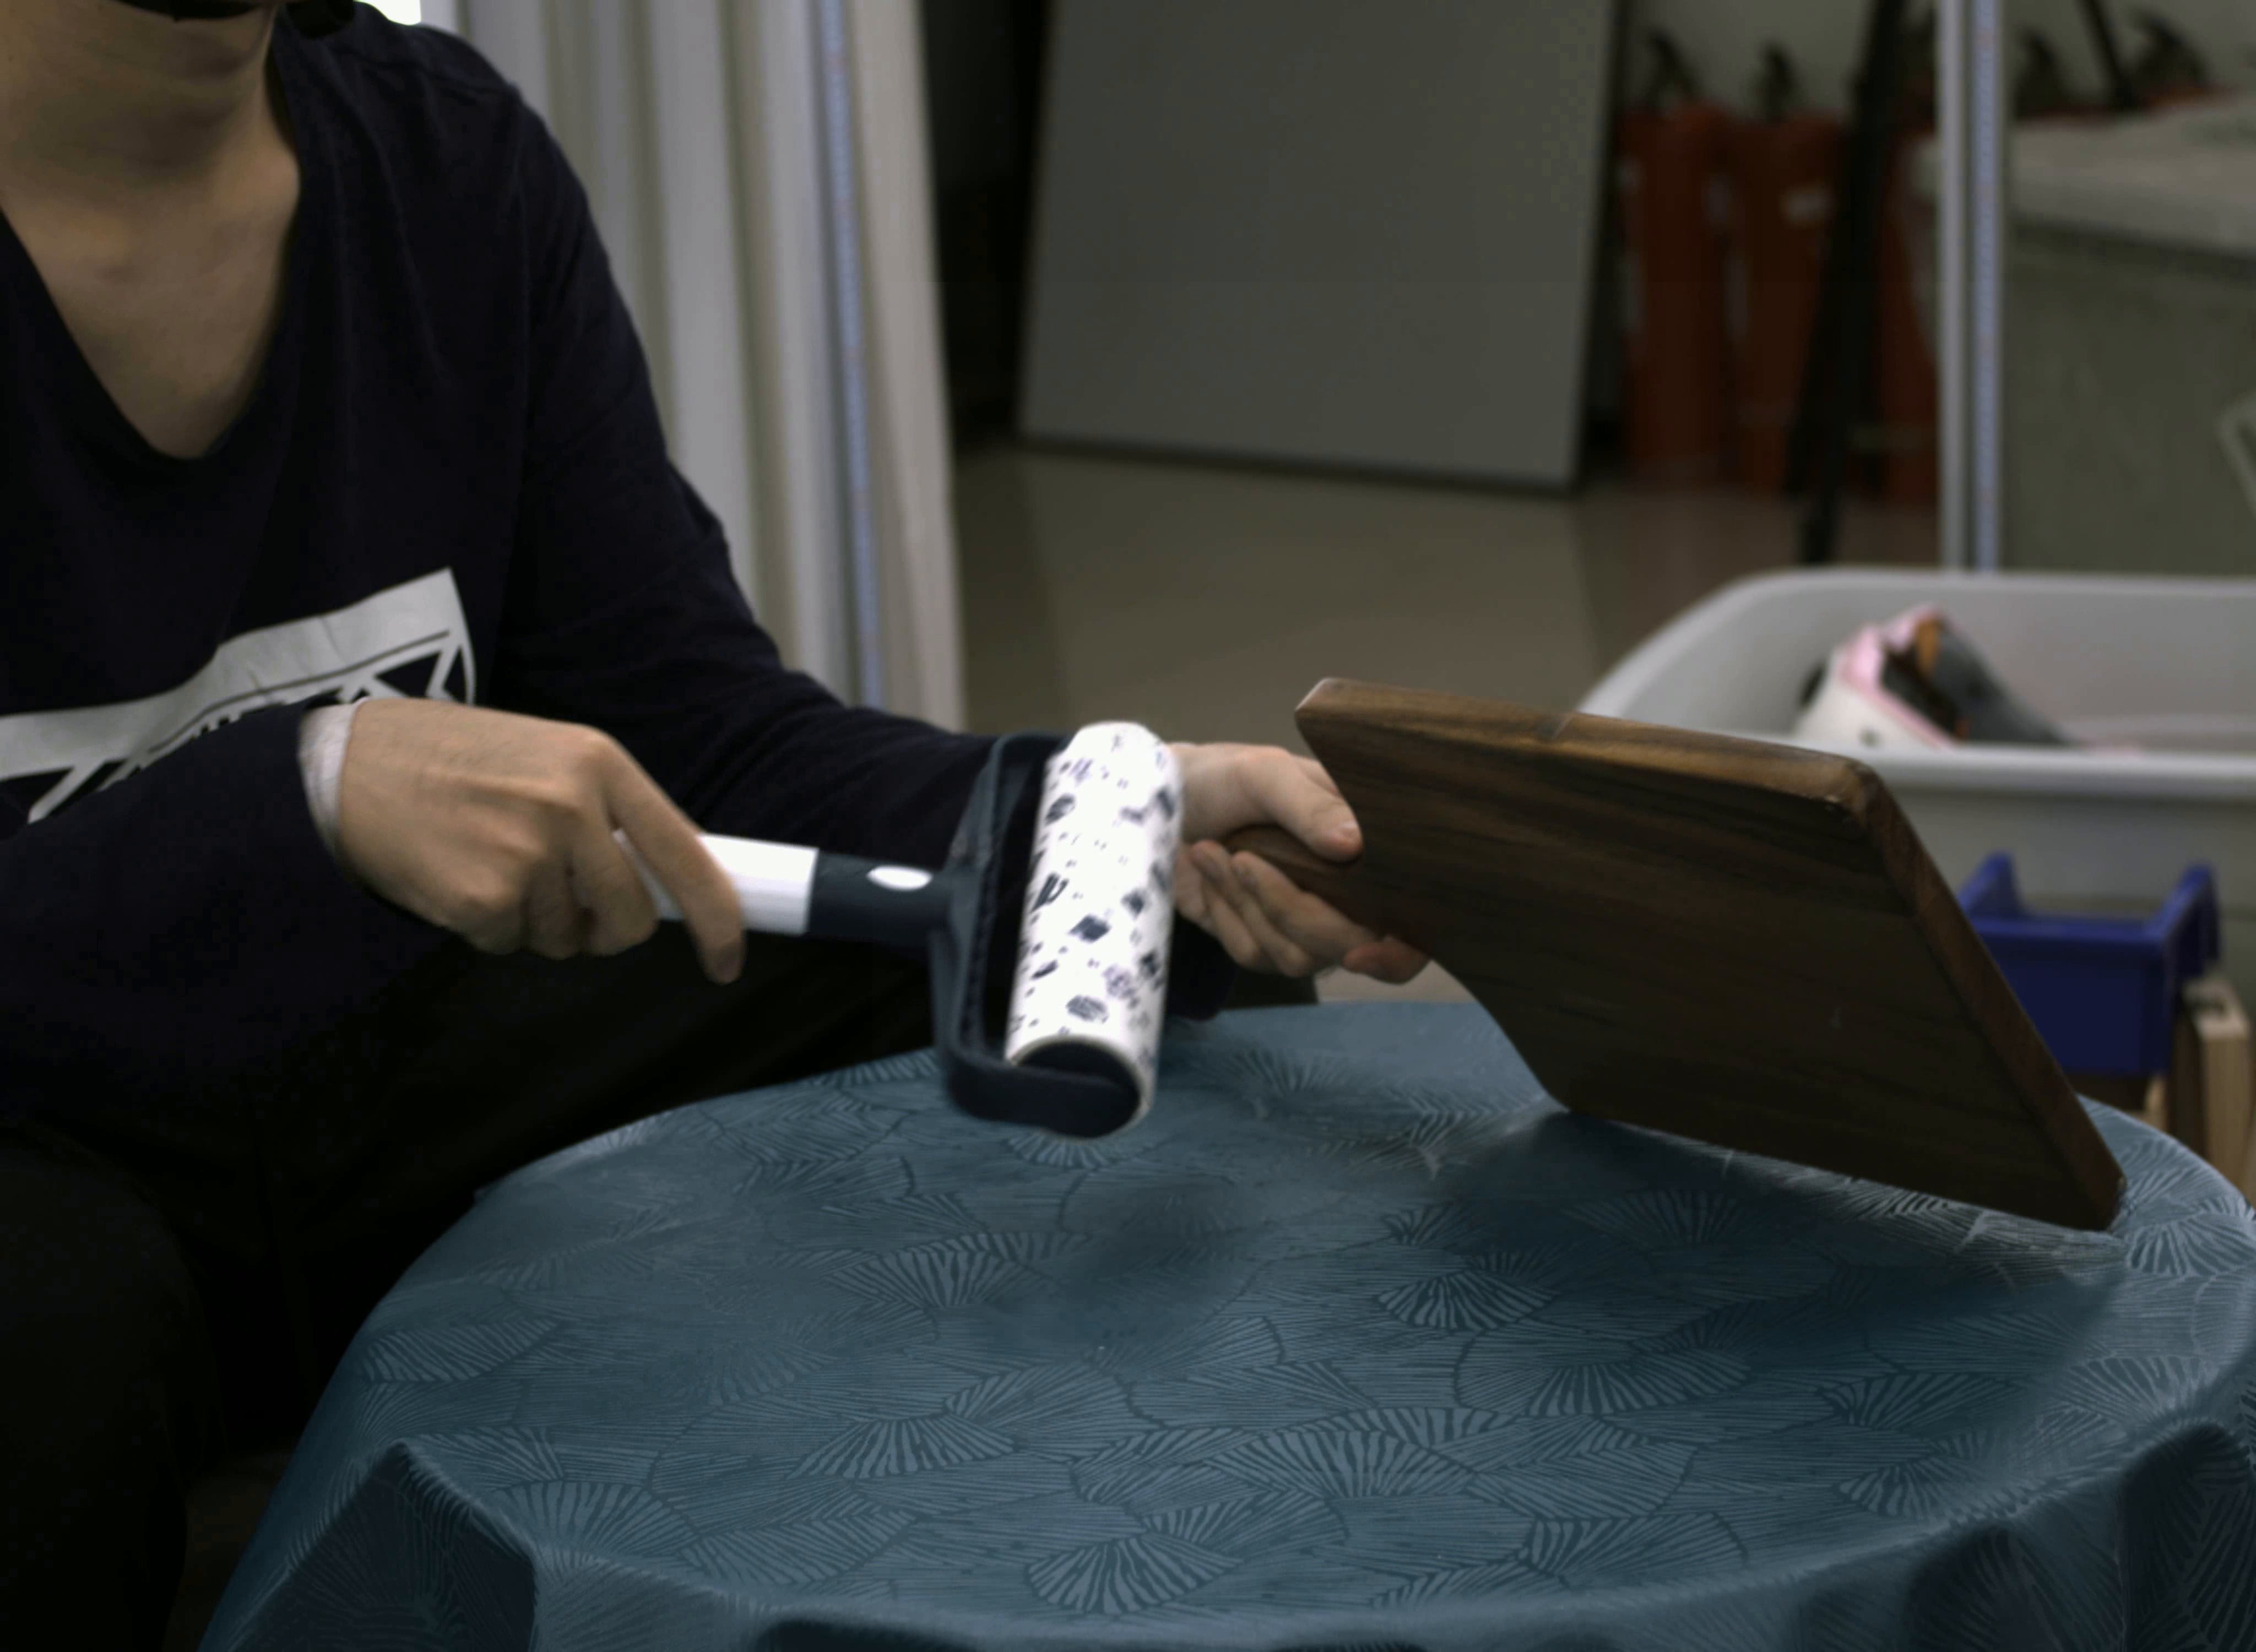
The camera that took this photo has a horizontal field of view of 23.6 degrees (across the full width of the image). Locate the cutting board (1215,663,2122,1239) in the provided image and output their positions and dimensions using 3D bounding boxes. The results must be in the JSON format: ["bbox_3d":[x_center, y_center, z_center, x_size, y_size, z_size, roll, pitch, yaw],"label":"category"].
[{"bbox_3d":[0.148,0.031,1.728,0.023,0.200,0.356,-48,32,-22],"label":"cutting board"}]

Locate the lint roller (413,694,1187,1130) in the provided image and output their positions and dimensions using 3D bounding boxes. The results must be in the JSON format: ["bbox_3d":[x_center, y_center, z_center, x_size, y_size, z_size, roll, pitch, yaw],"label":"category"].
[{"bbox_3d":[-0.106,0.016,1.724,0.244,0.051,0.177,6,40,1],"label":"lint roller"}]
